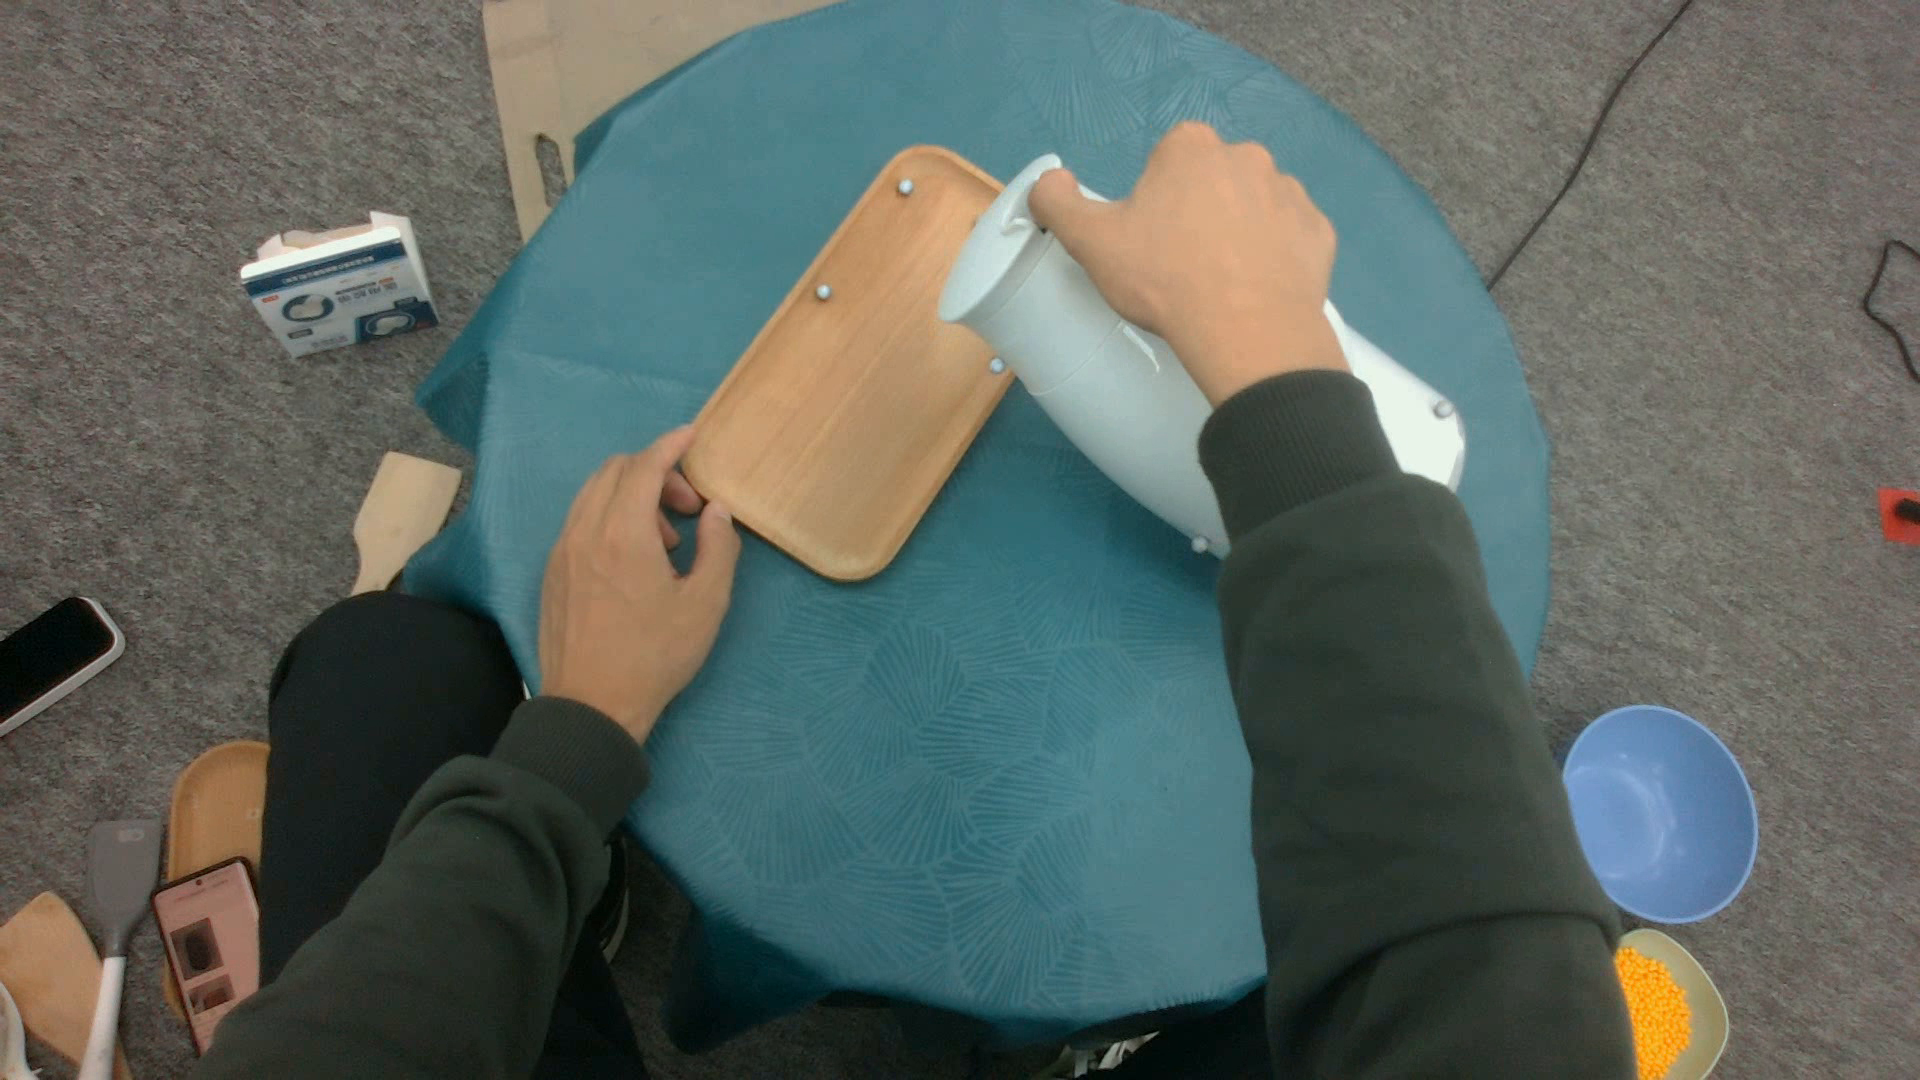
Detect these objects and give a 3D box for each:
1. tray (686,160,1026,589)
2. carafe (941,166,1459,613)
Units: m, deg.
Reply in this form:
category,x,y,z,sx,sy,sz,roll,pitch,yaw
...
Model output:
category,x,y,z,sx,sy,sz,roll,pitch,yaw
tray,-0.038,-0.096,0.766,0.130,0.023,0.251,32,72,4
carafe,0.121,-0.085,0.672,0.248,0.167,0.133,33,66,-17
